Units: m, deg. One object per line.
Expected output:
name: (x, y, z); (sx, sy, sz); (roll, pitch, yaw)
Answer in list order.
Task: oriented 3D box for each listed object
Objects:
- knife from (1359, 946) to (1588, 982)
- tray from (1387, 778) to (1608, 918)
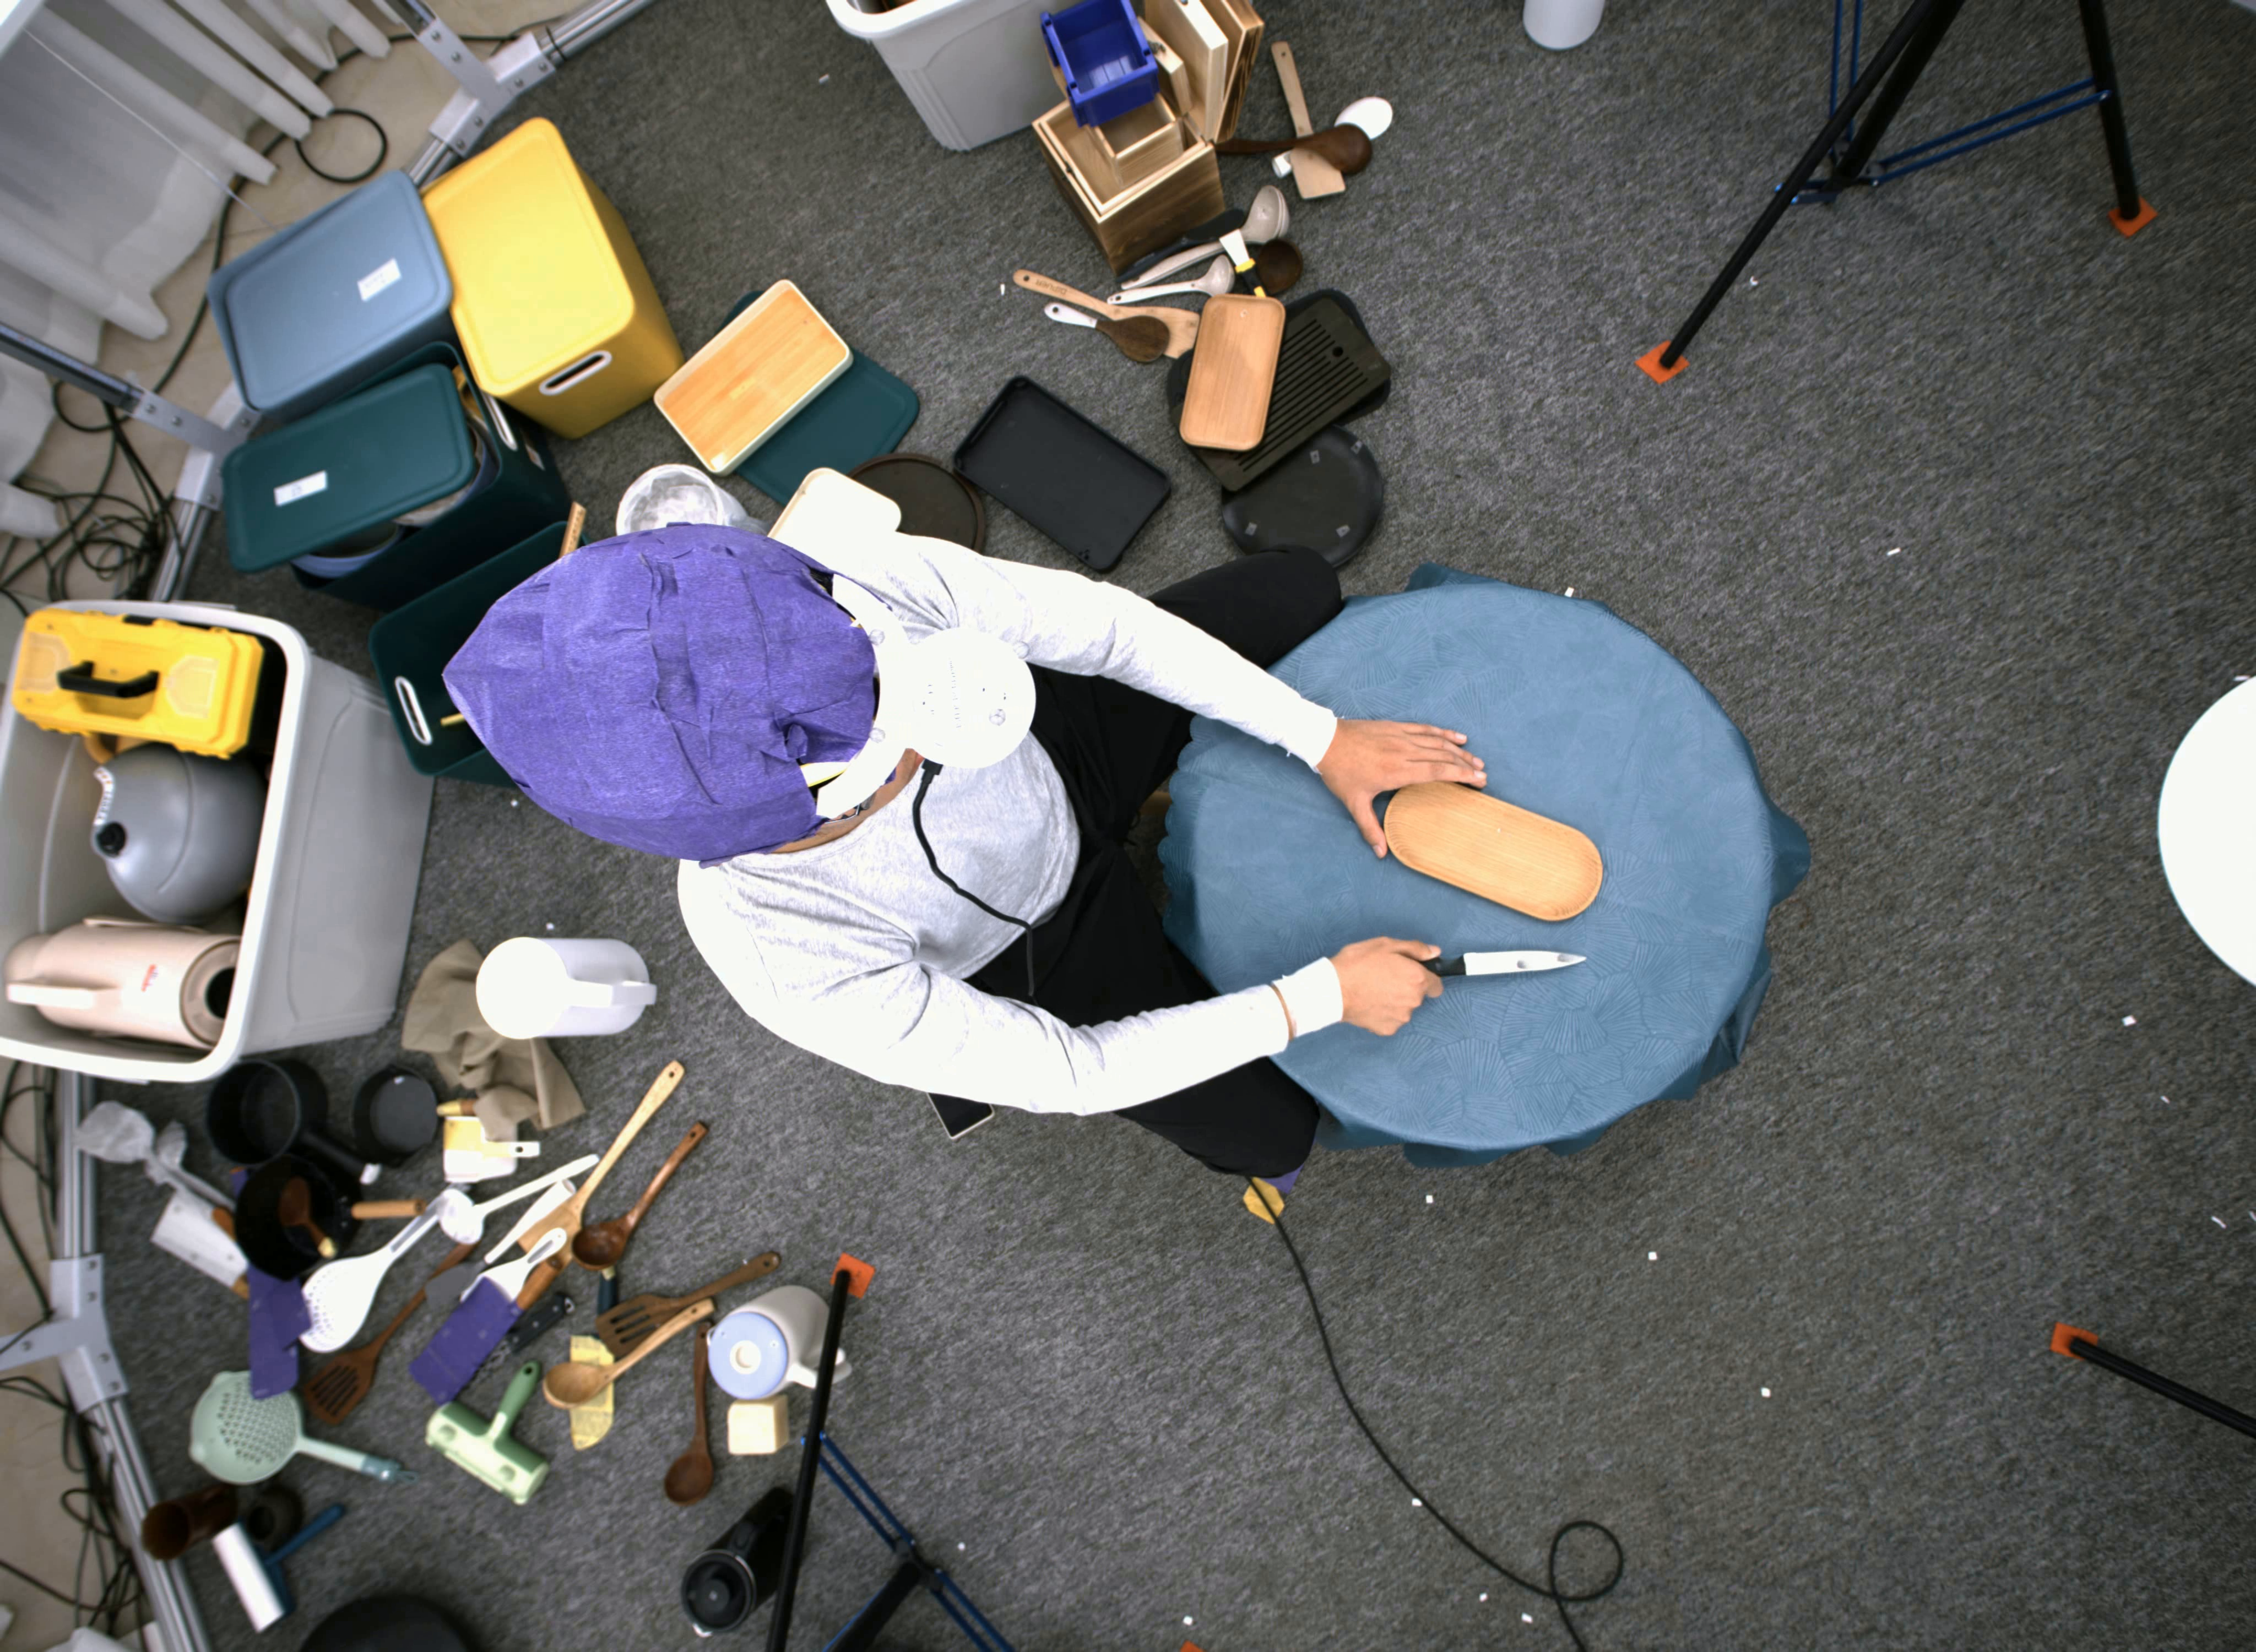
knife: (0.354, 0.139, 1.404); (0.238, 0.016, 0.024); (-5, 73, -1)
tray: (0.384, 0.020, 1.434); (0.231, 0.020, 0.102); (20, 92, 10)
